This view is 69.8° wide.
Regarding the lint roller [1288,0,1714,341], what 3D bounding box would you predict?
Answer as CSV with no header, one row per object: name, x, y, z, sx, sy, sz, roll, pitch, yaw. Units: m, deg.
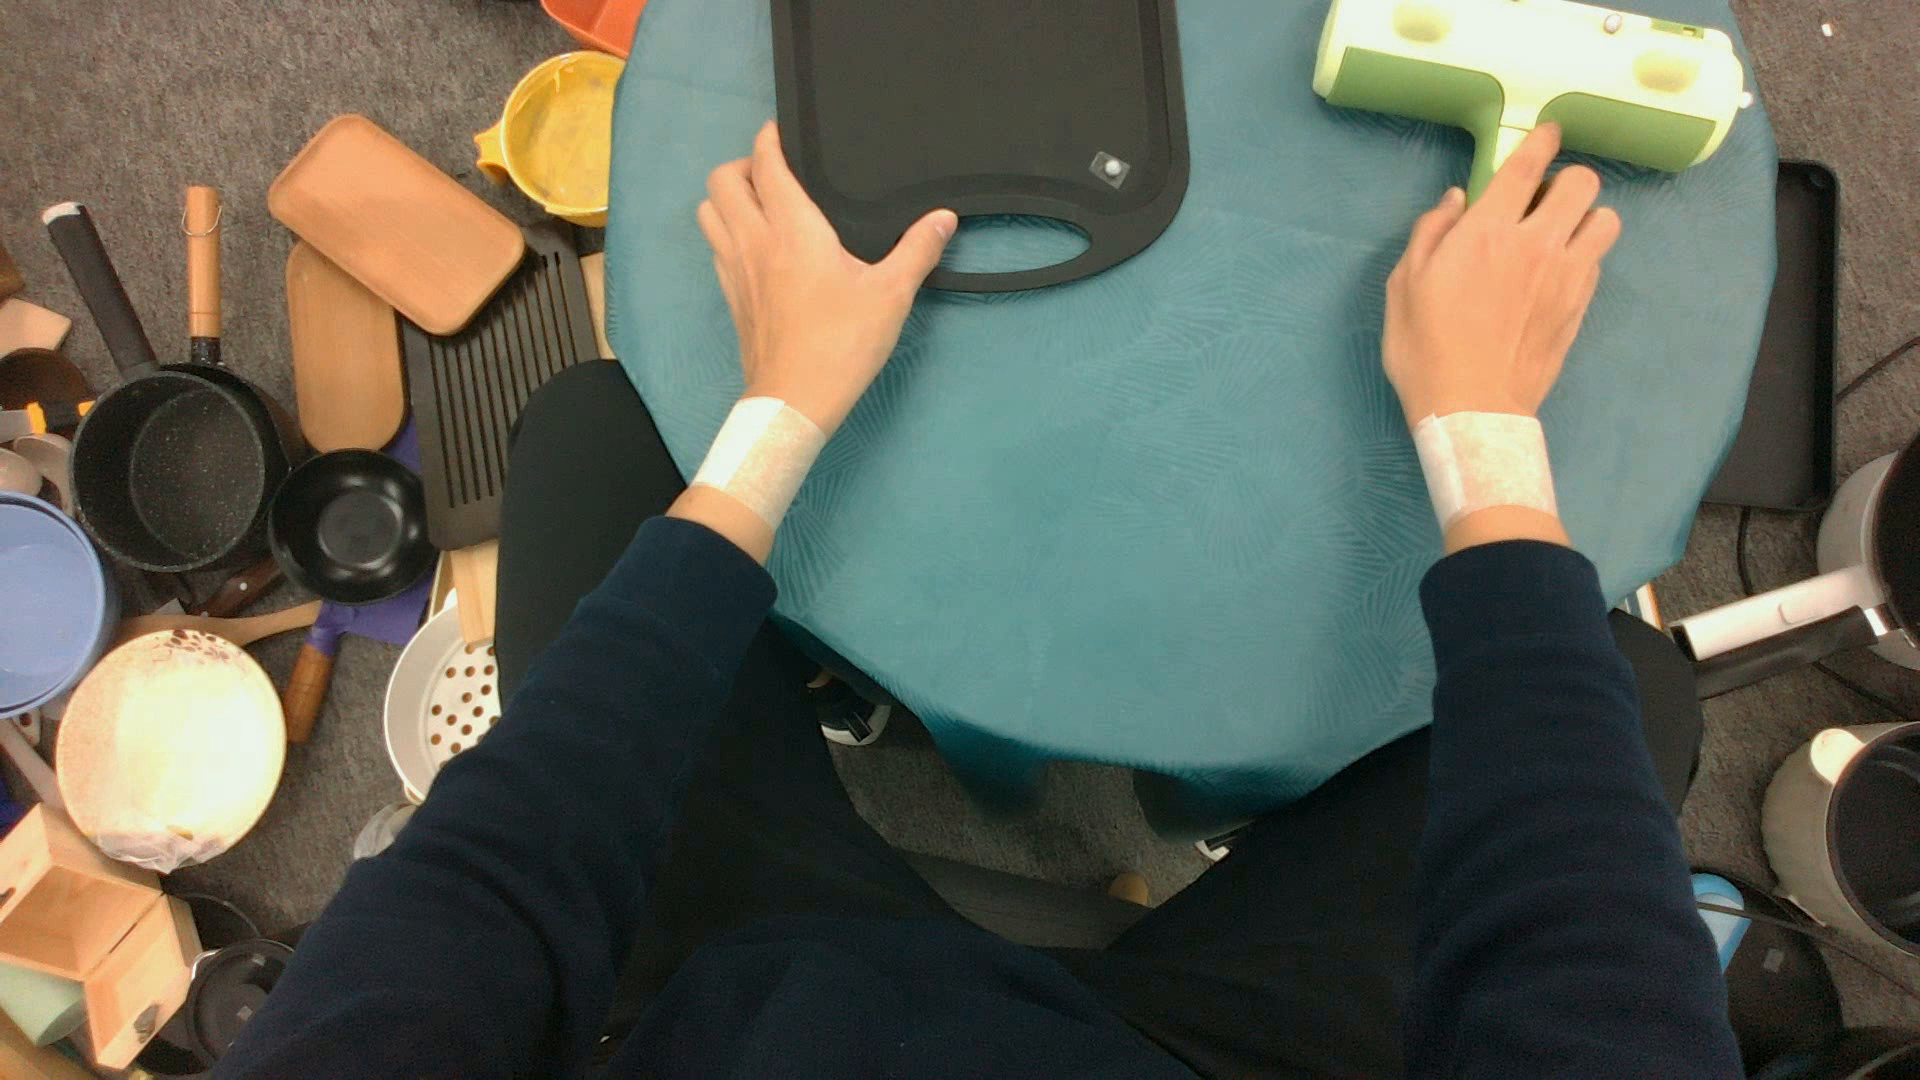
lint roller,0.255,-0.191,0.661,0.198,0.082,0.184,11,70,4

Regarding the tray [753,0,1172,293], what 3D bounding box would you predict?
tray,-0.003,-0.287,0.719,0.211,0.010,0.326,-5,82,-3
